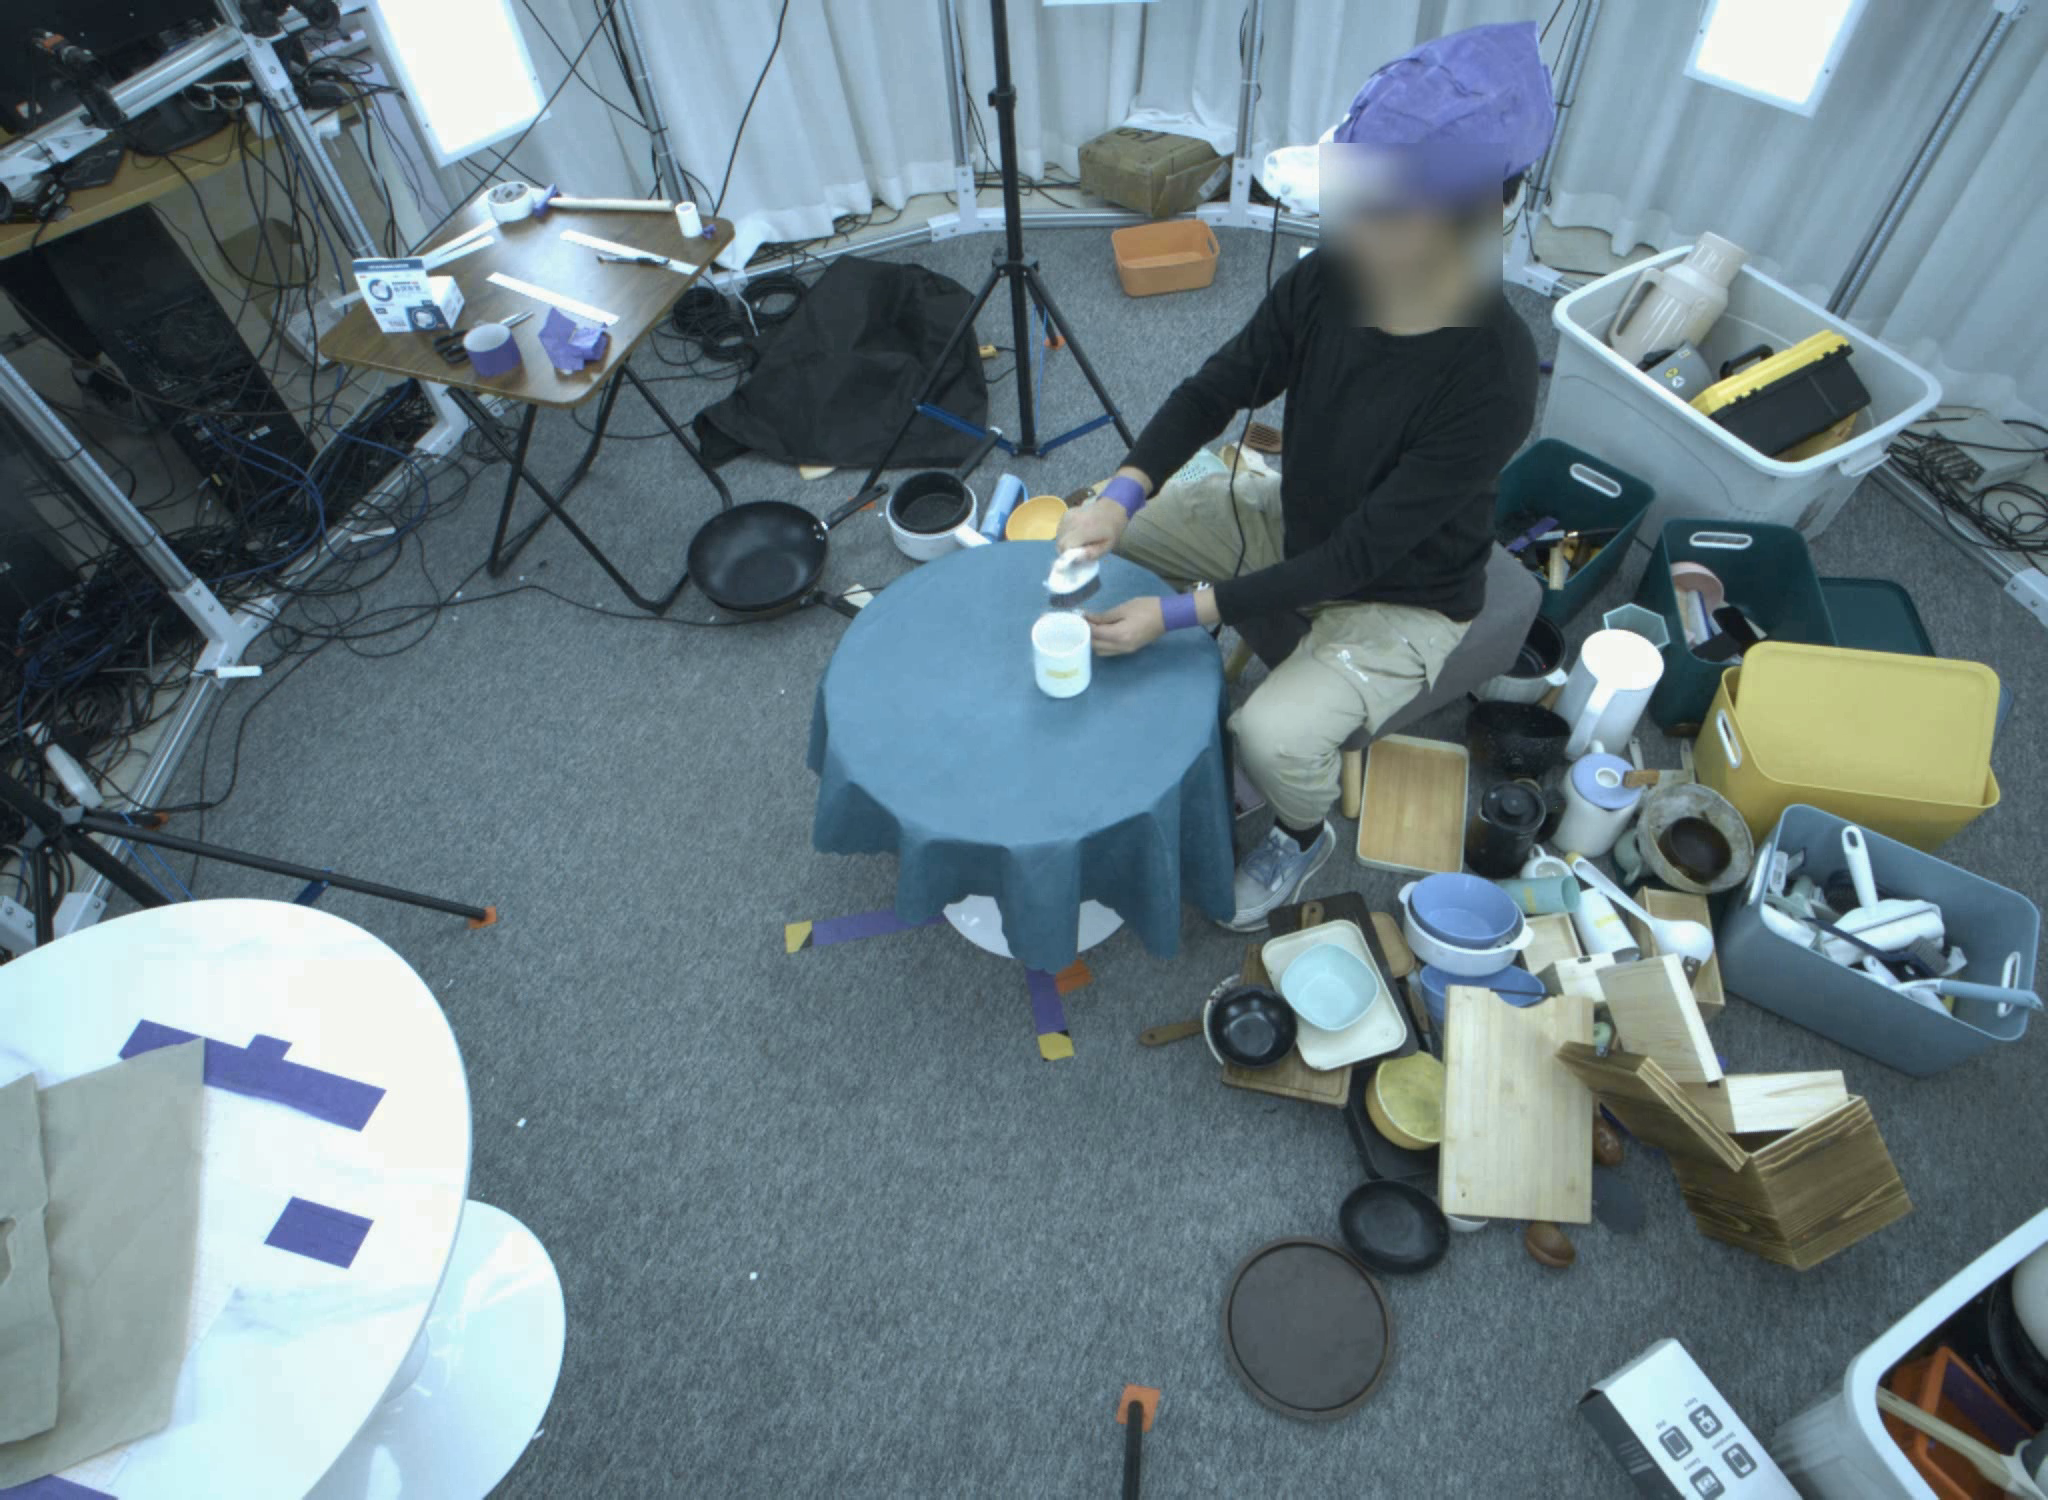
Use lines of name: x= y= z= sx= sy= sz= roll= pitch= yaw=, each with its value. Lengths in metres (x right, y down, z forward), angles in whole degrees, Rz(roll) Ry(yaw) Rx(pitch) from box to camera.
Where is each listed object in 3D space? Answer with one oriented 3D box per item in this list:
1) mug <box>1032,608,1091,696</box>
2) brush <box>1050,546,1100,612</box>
mug: x=0.062 y=-0.153 z=1.832 sx=0.084 sy=0.103 sz=0.118 roll=16 pitch=57 yaw=15
brush: x=0.074 y=-0.256 z=1.788 sx=0.049 sy=0.073 sz=0.100 roll=19 pitch=44 yaw=24
